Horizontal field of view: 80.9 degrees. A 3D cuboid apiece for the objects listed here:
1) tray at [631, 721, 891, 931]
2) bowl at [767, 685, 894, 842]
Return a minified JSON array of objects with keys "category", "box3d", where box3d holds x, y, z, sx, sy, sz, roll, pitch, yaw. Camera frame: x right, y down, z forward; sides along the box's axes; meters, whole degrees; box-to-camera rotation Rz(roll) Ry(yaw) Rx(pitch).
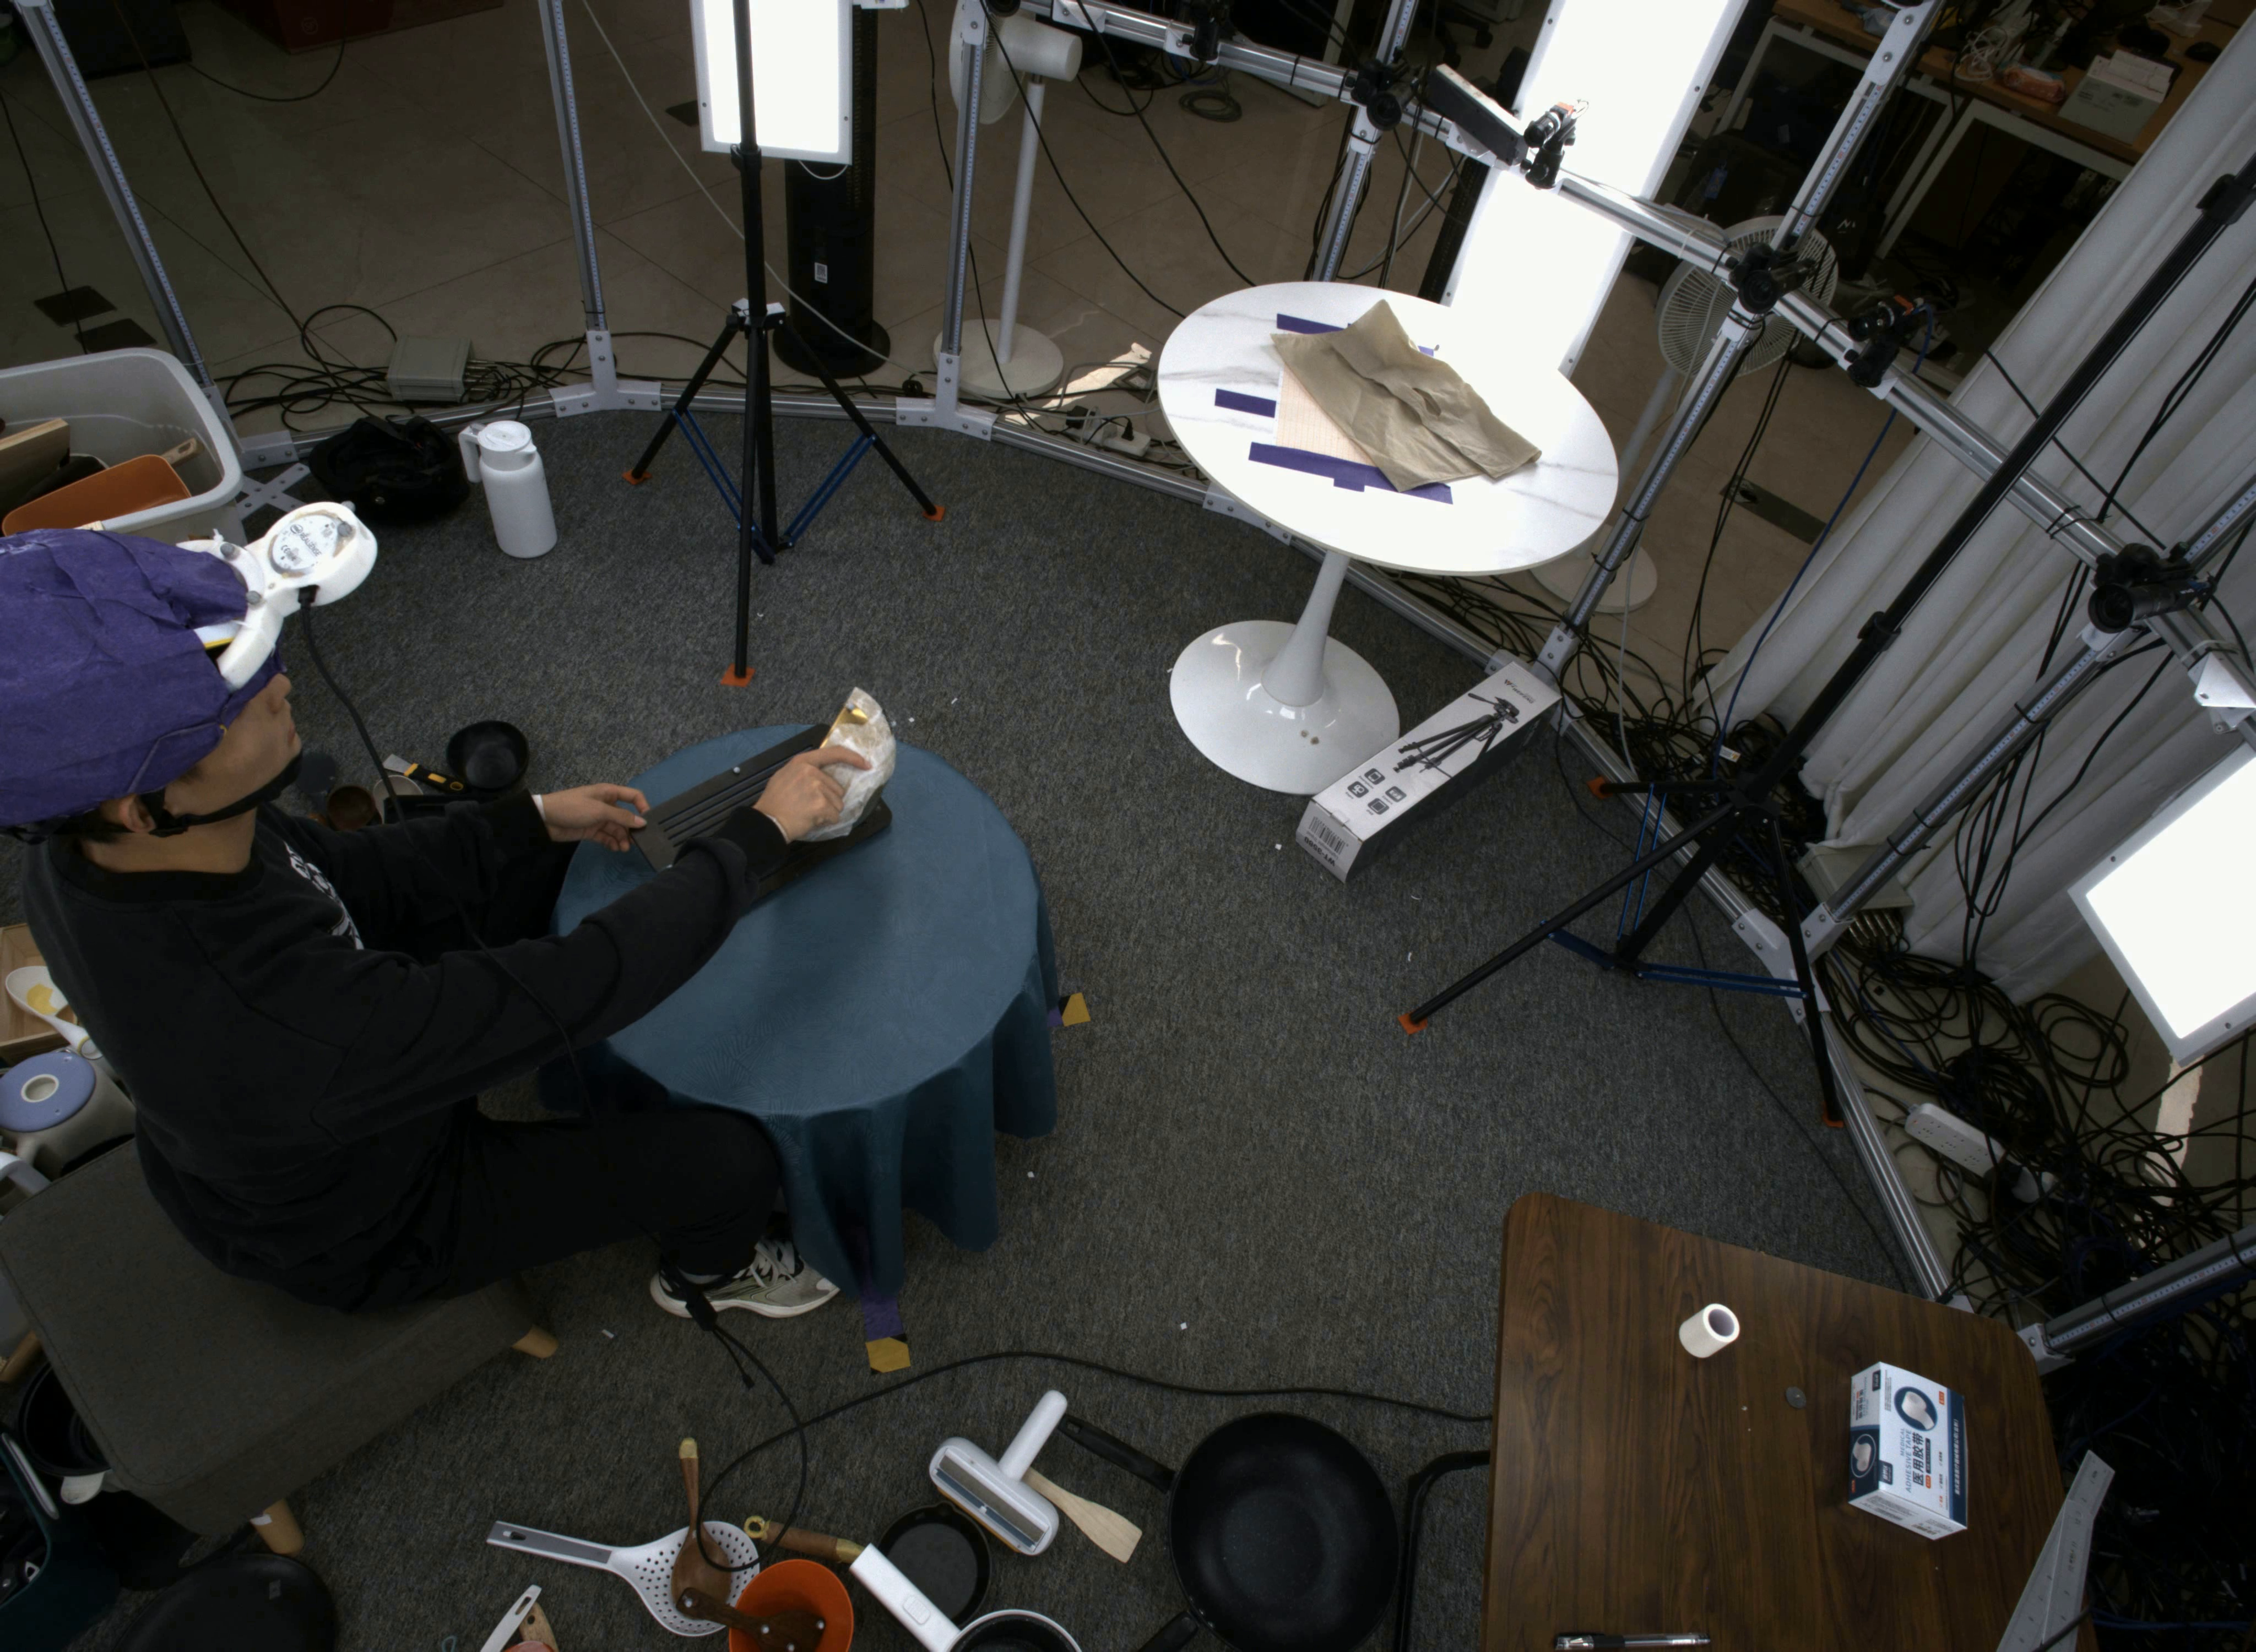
[{"category":"tray","box3d":[-0.473,-0.006,1.679,0.307,0.018,0.170,-33,86,-32]},{"category":"bowl","box3d":[-0.350,-0.059,1.592,0.096,0.214,0.212,30,49,-13]}]
